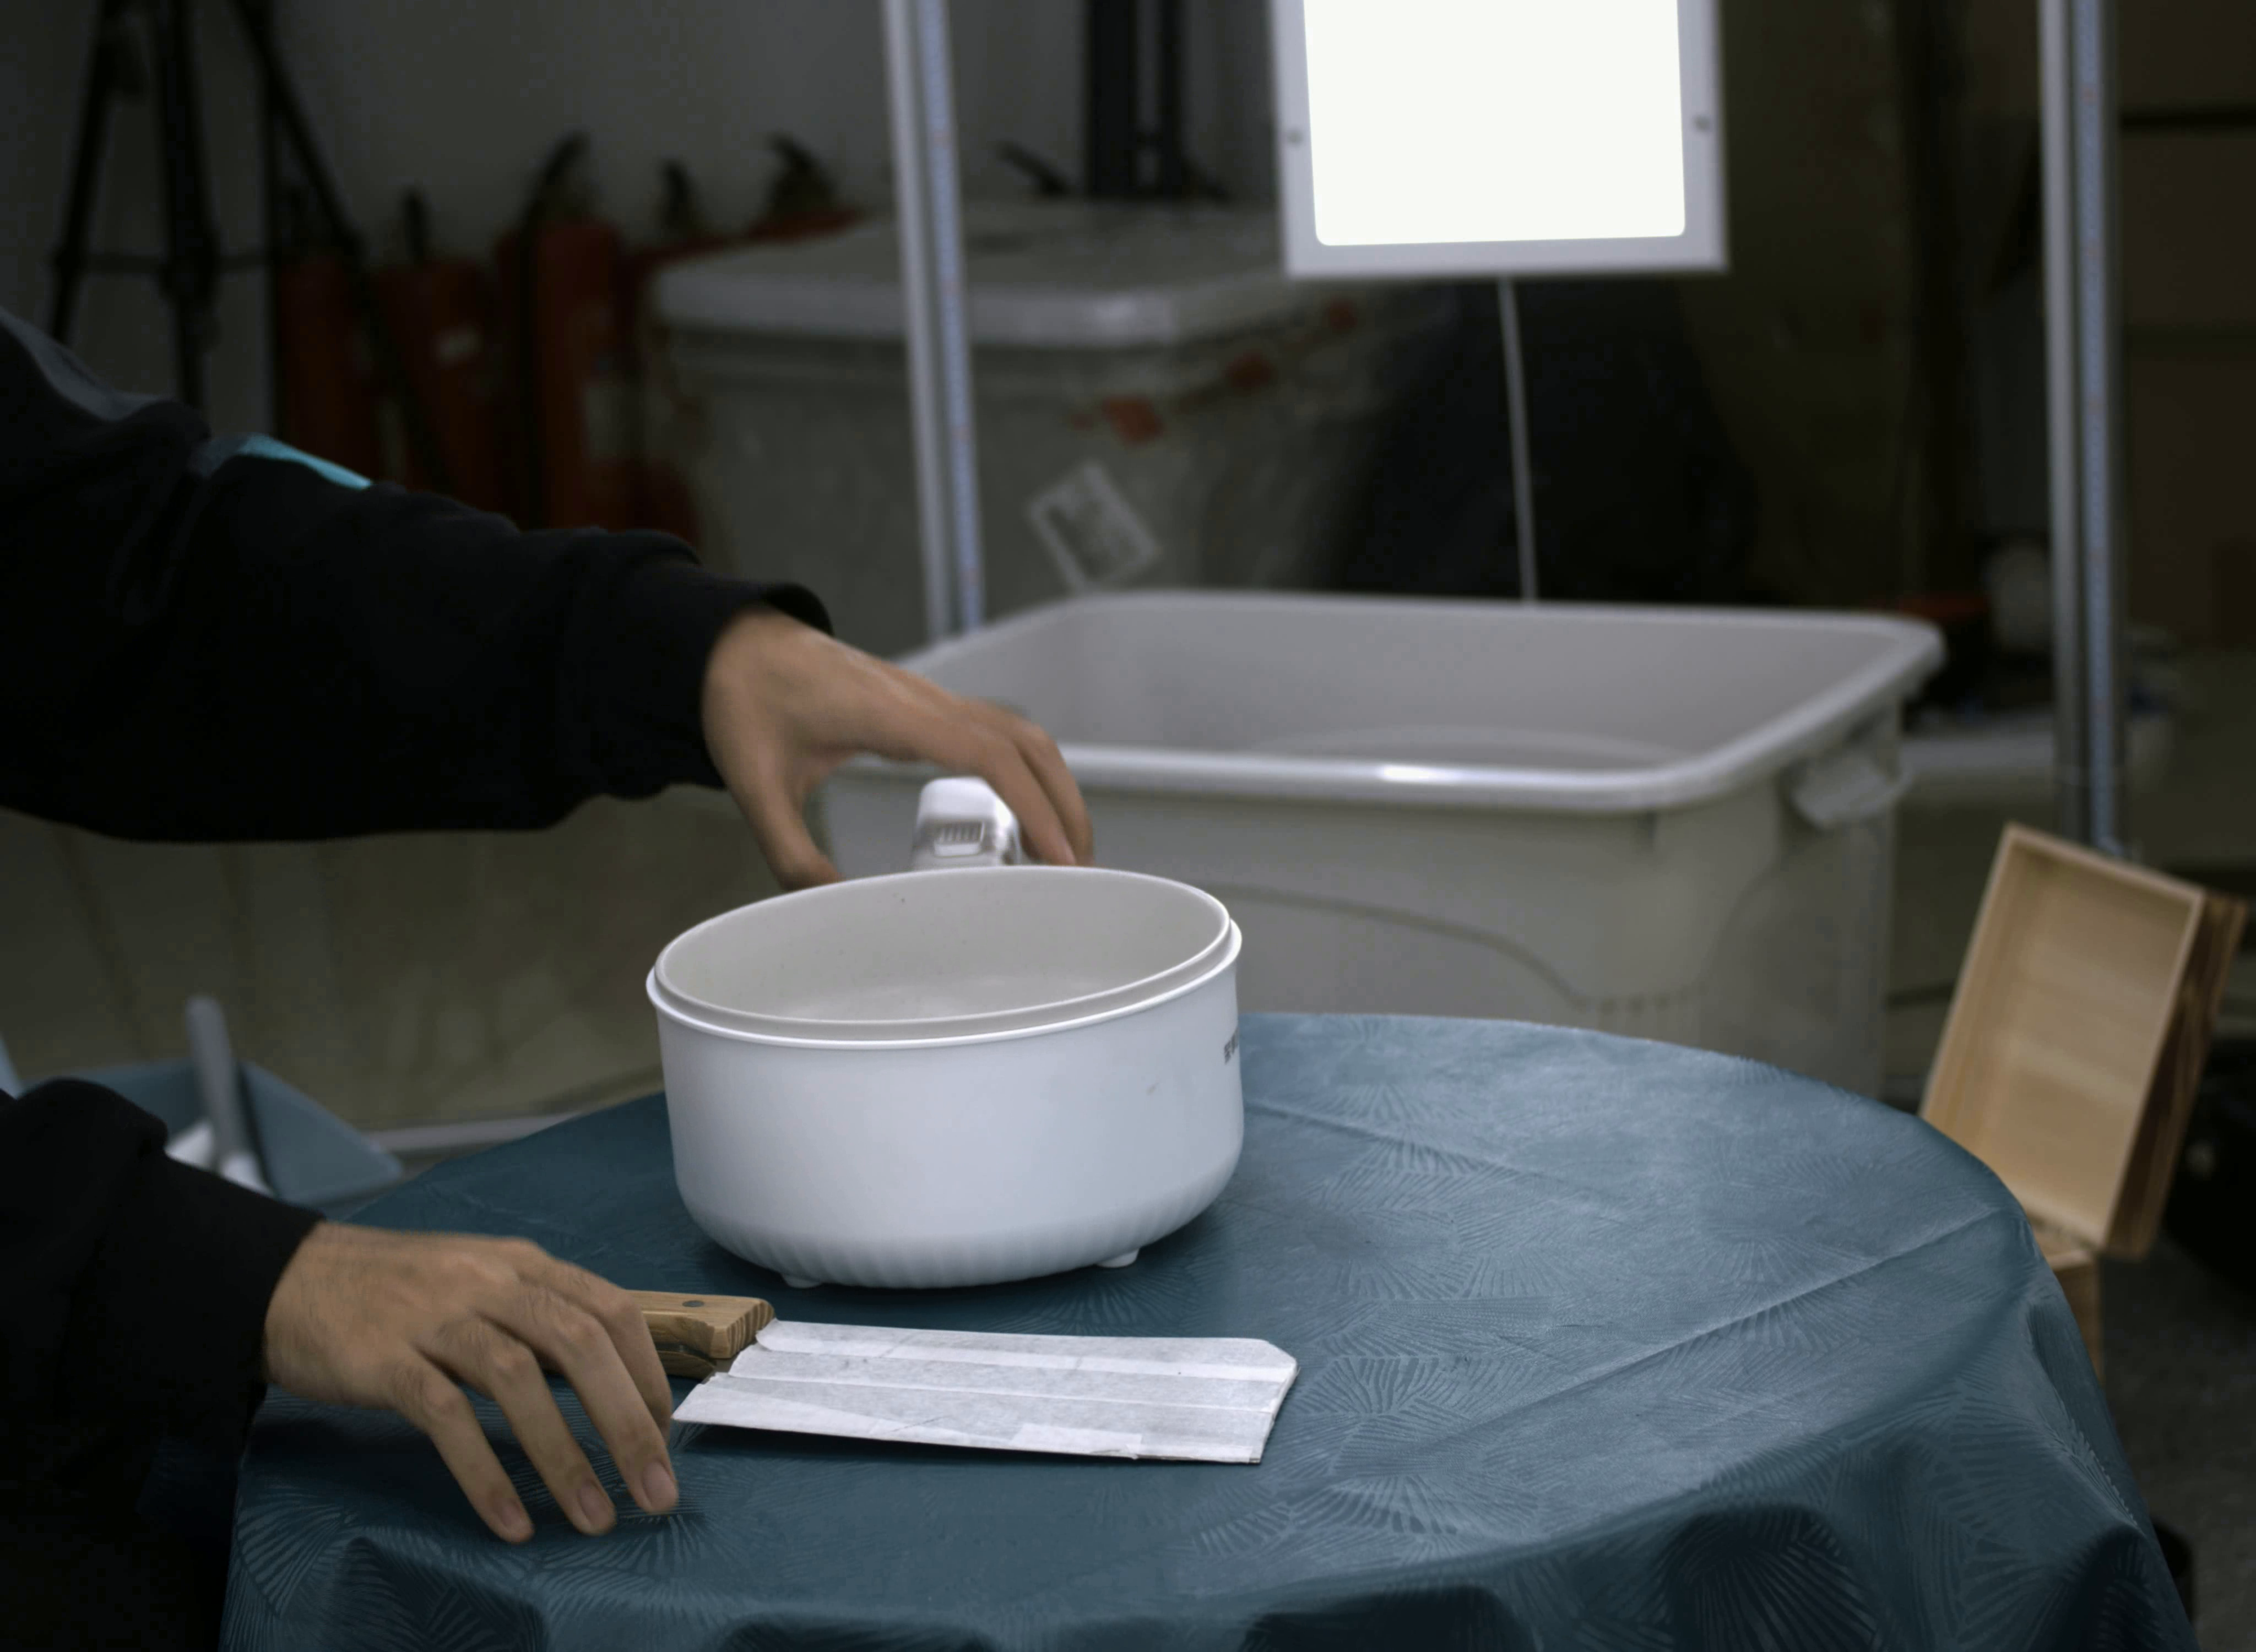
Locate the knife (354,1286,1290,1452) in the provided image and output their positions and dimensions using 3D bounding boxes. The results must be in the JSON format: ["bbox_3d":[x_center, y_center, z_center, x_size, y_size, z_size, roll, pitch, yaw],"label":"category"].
[{"bbox_3d":[-0.097,0.169,1.723,0.319,0.022,0.112,3,16,20],"label":"knife"}]

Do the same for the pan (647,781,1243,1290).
[{"bbox_3d":[-0.058,0.070,1.940,0.201,0.102,0.353,-5,13,3],"label":"pan"}]
